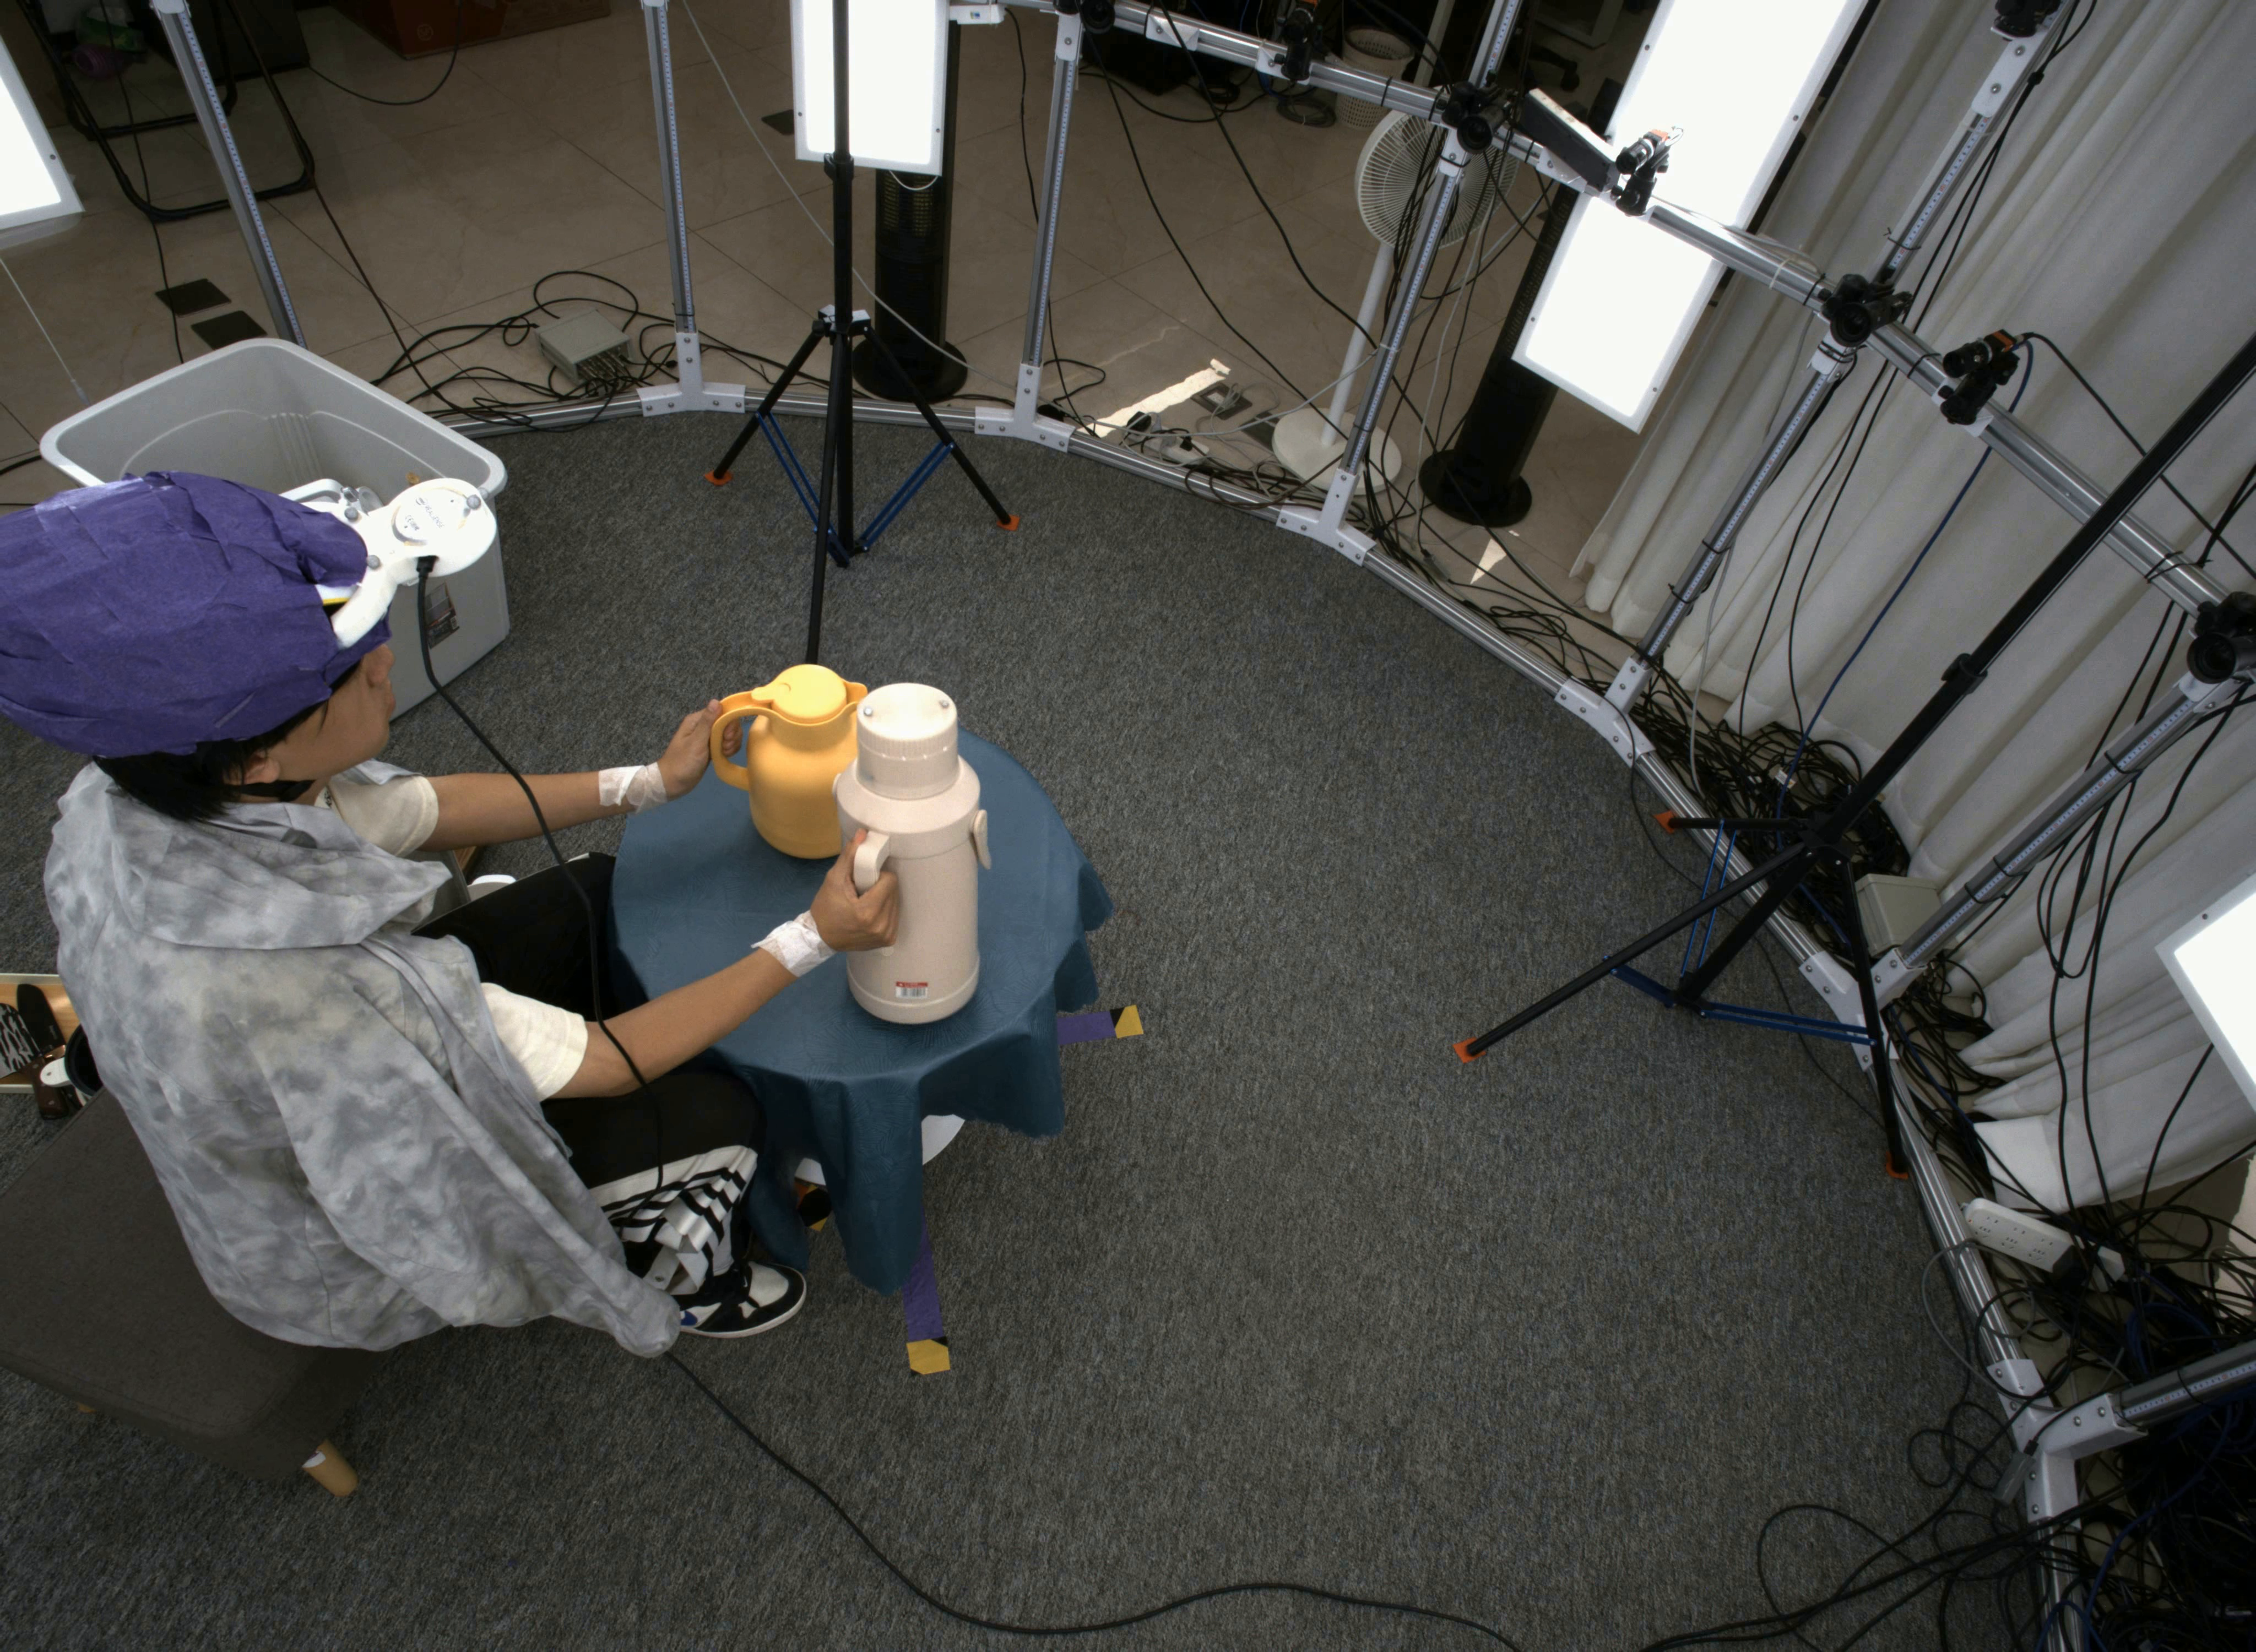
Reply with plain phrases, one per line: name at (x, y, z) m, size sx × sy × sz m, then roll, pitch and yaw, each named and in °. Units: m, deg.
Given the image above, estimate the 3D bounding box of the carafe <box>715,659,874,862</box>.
carafe at (-0.412, -0.088, 1.626) m, size 0.203 × 0.266 × 0.159 m, roll -3°, pitch 51°, yaw -15°

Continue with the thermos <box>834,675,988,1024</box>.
thermos at (-0.250, 0.038, 1.466) m, size 0.172 × 0.418 × 0.205 m, roll 15°, pitch 41°, yaw 8°
